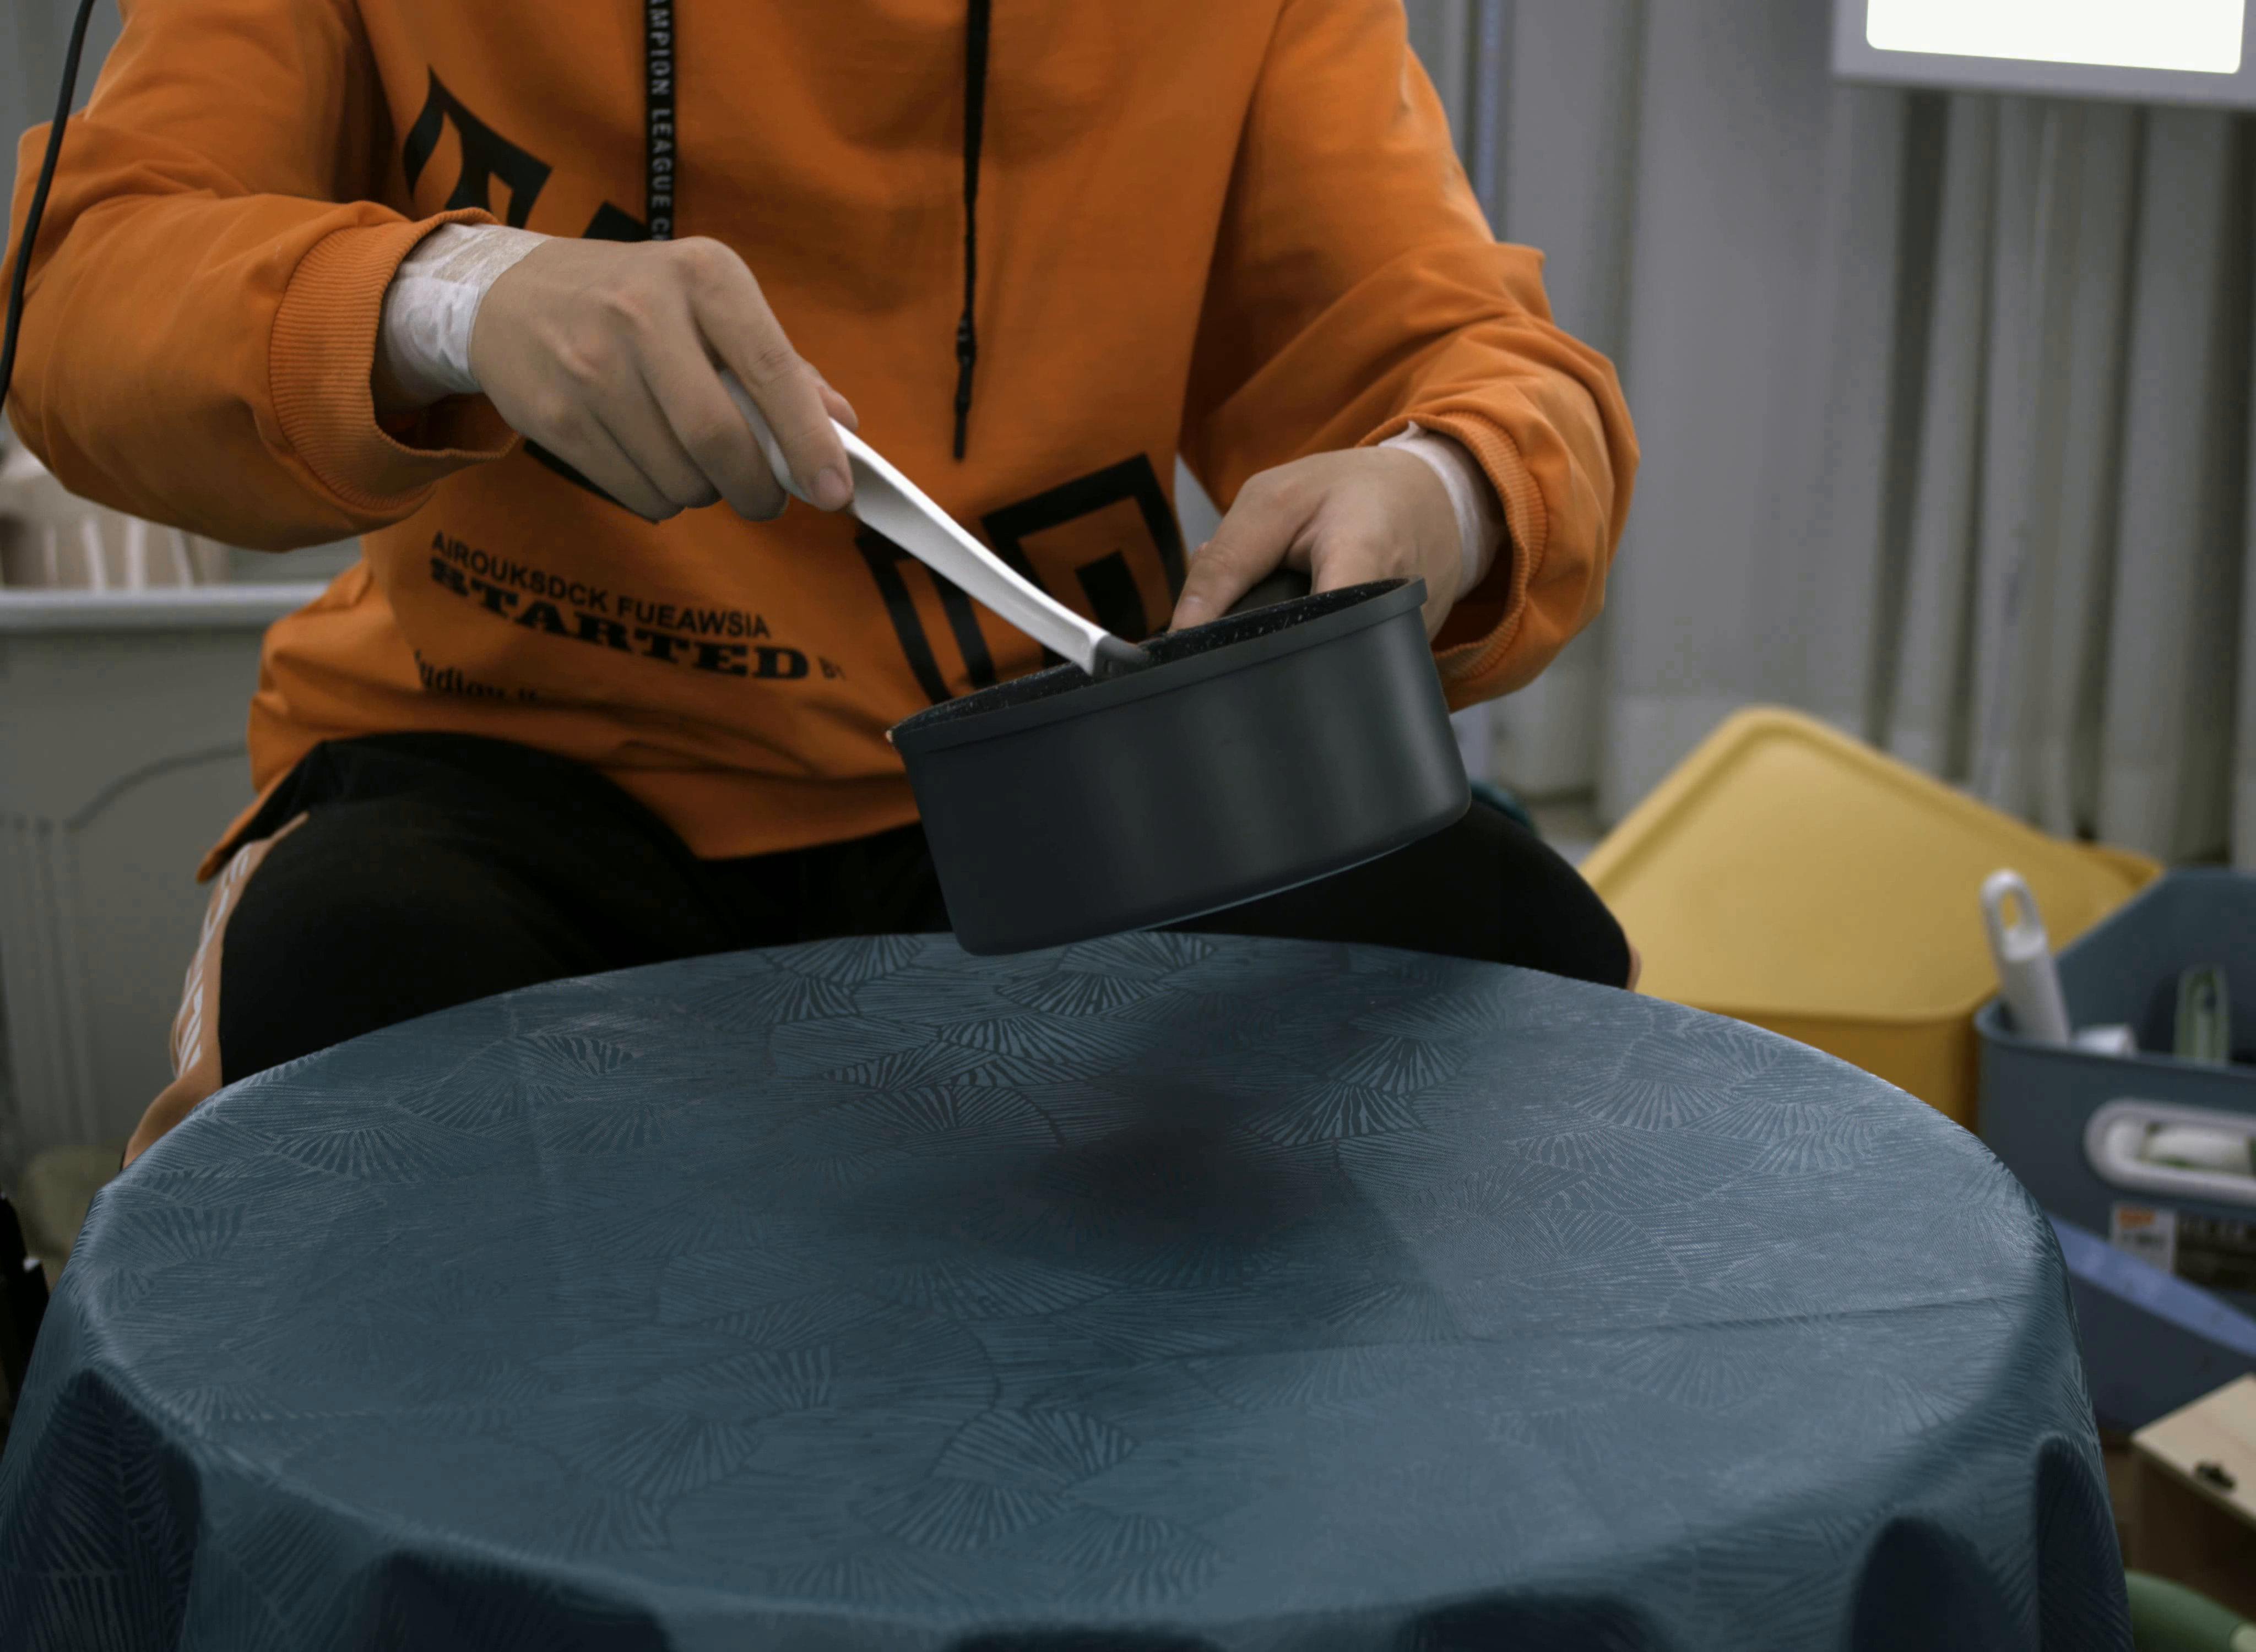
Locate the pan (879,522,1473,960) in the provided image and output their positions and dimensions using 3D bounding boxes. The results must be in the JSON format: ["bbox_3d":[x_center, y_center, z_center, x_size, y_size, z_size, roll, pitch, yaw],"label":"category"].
[{"bbox_3d":[0.036,-0.033,1.670,0.171,0.087,0.329,-14,7,17],"label":"pan"}]

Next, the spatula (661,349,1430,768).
[{"bbox_3d":[-0.028,-0.075,1.621,0.284,0.059,0.032,29,50,25],"label":"spatula"}]
